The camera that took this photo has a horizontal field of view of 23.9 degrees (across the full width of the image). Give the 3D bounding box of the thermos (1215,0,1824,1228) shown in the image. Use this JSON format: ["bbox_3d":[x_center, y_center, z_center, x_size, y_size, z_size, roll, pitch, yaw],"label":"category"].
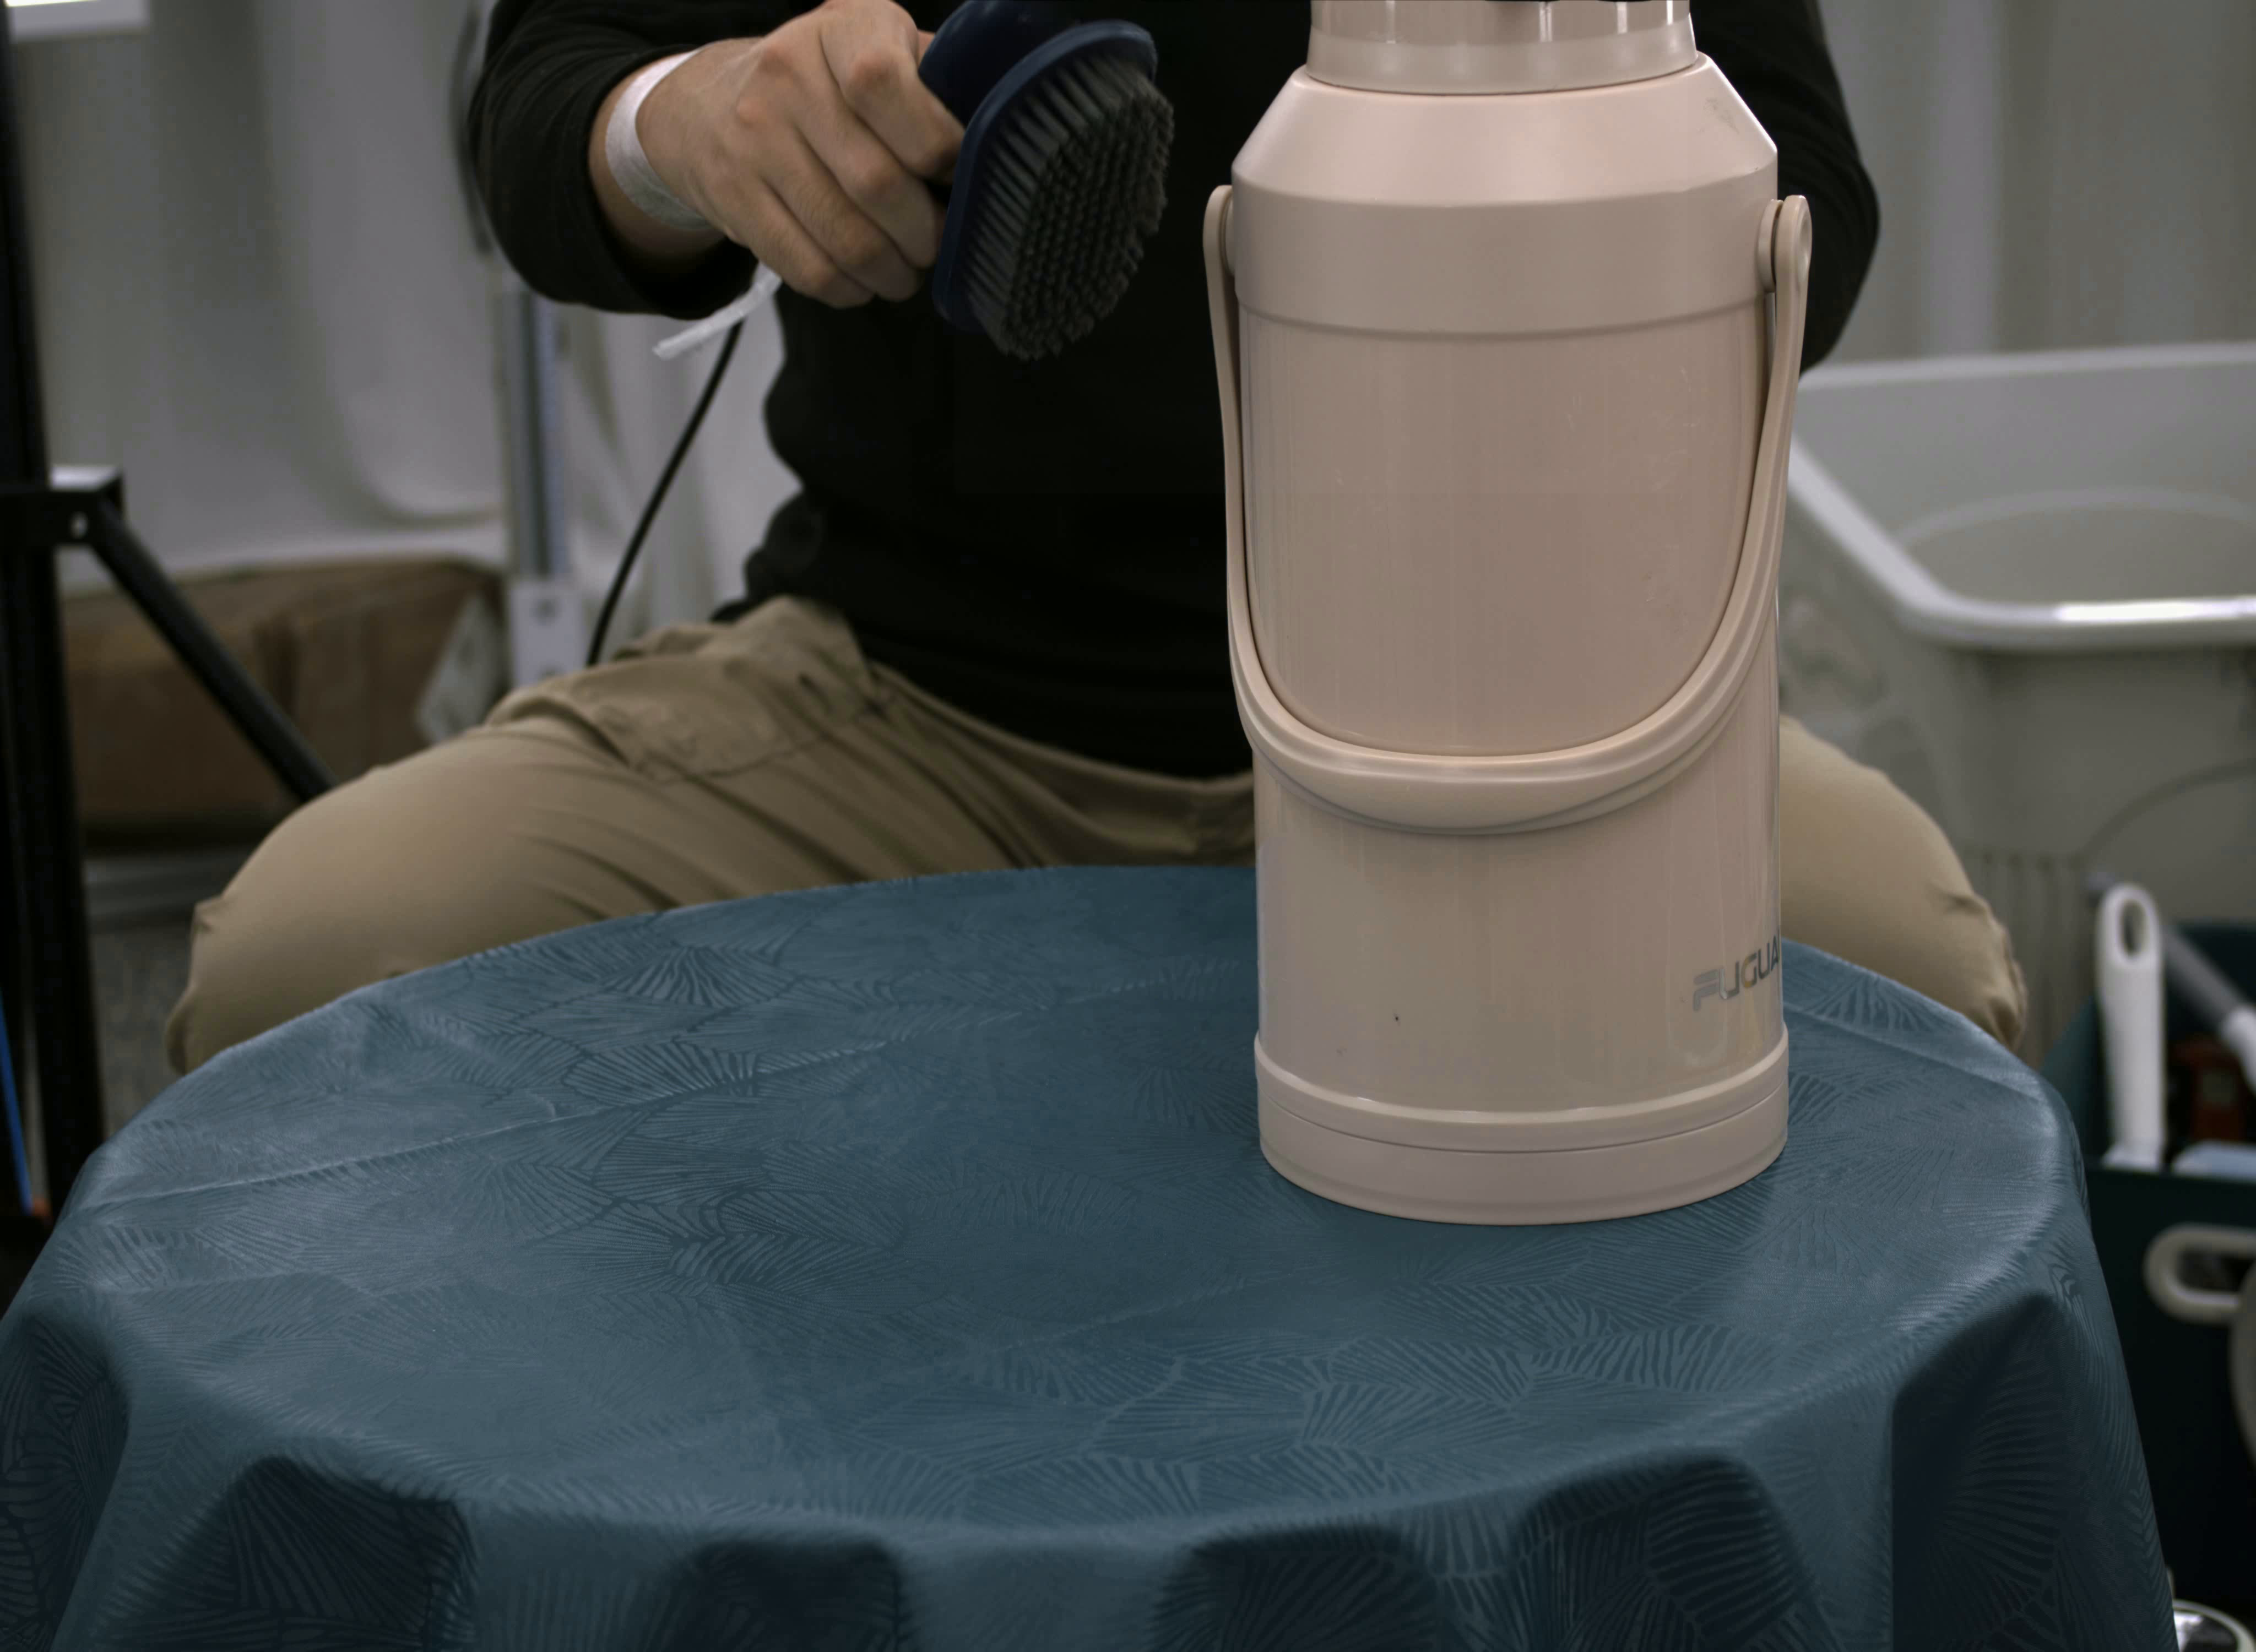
[{"bbox_3d":[0.120,-0.101,1.550,0.177,0.406,0.205,2,16,20],"label":"thermos"}]

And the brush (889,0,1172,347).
[{"bbox_3d":[-0.026,-0.190,1.533,0.067,0.121,0.062,-25,63,-24],"label":"brush"}]
